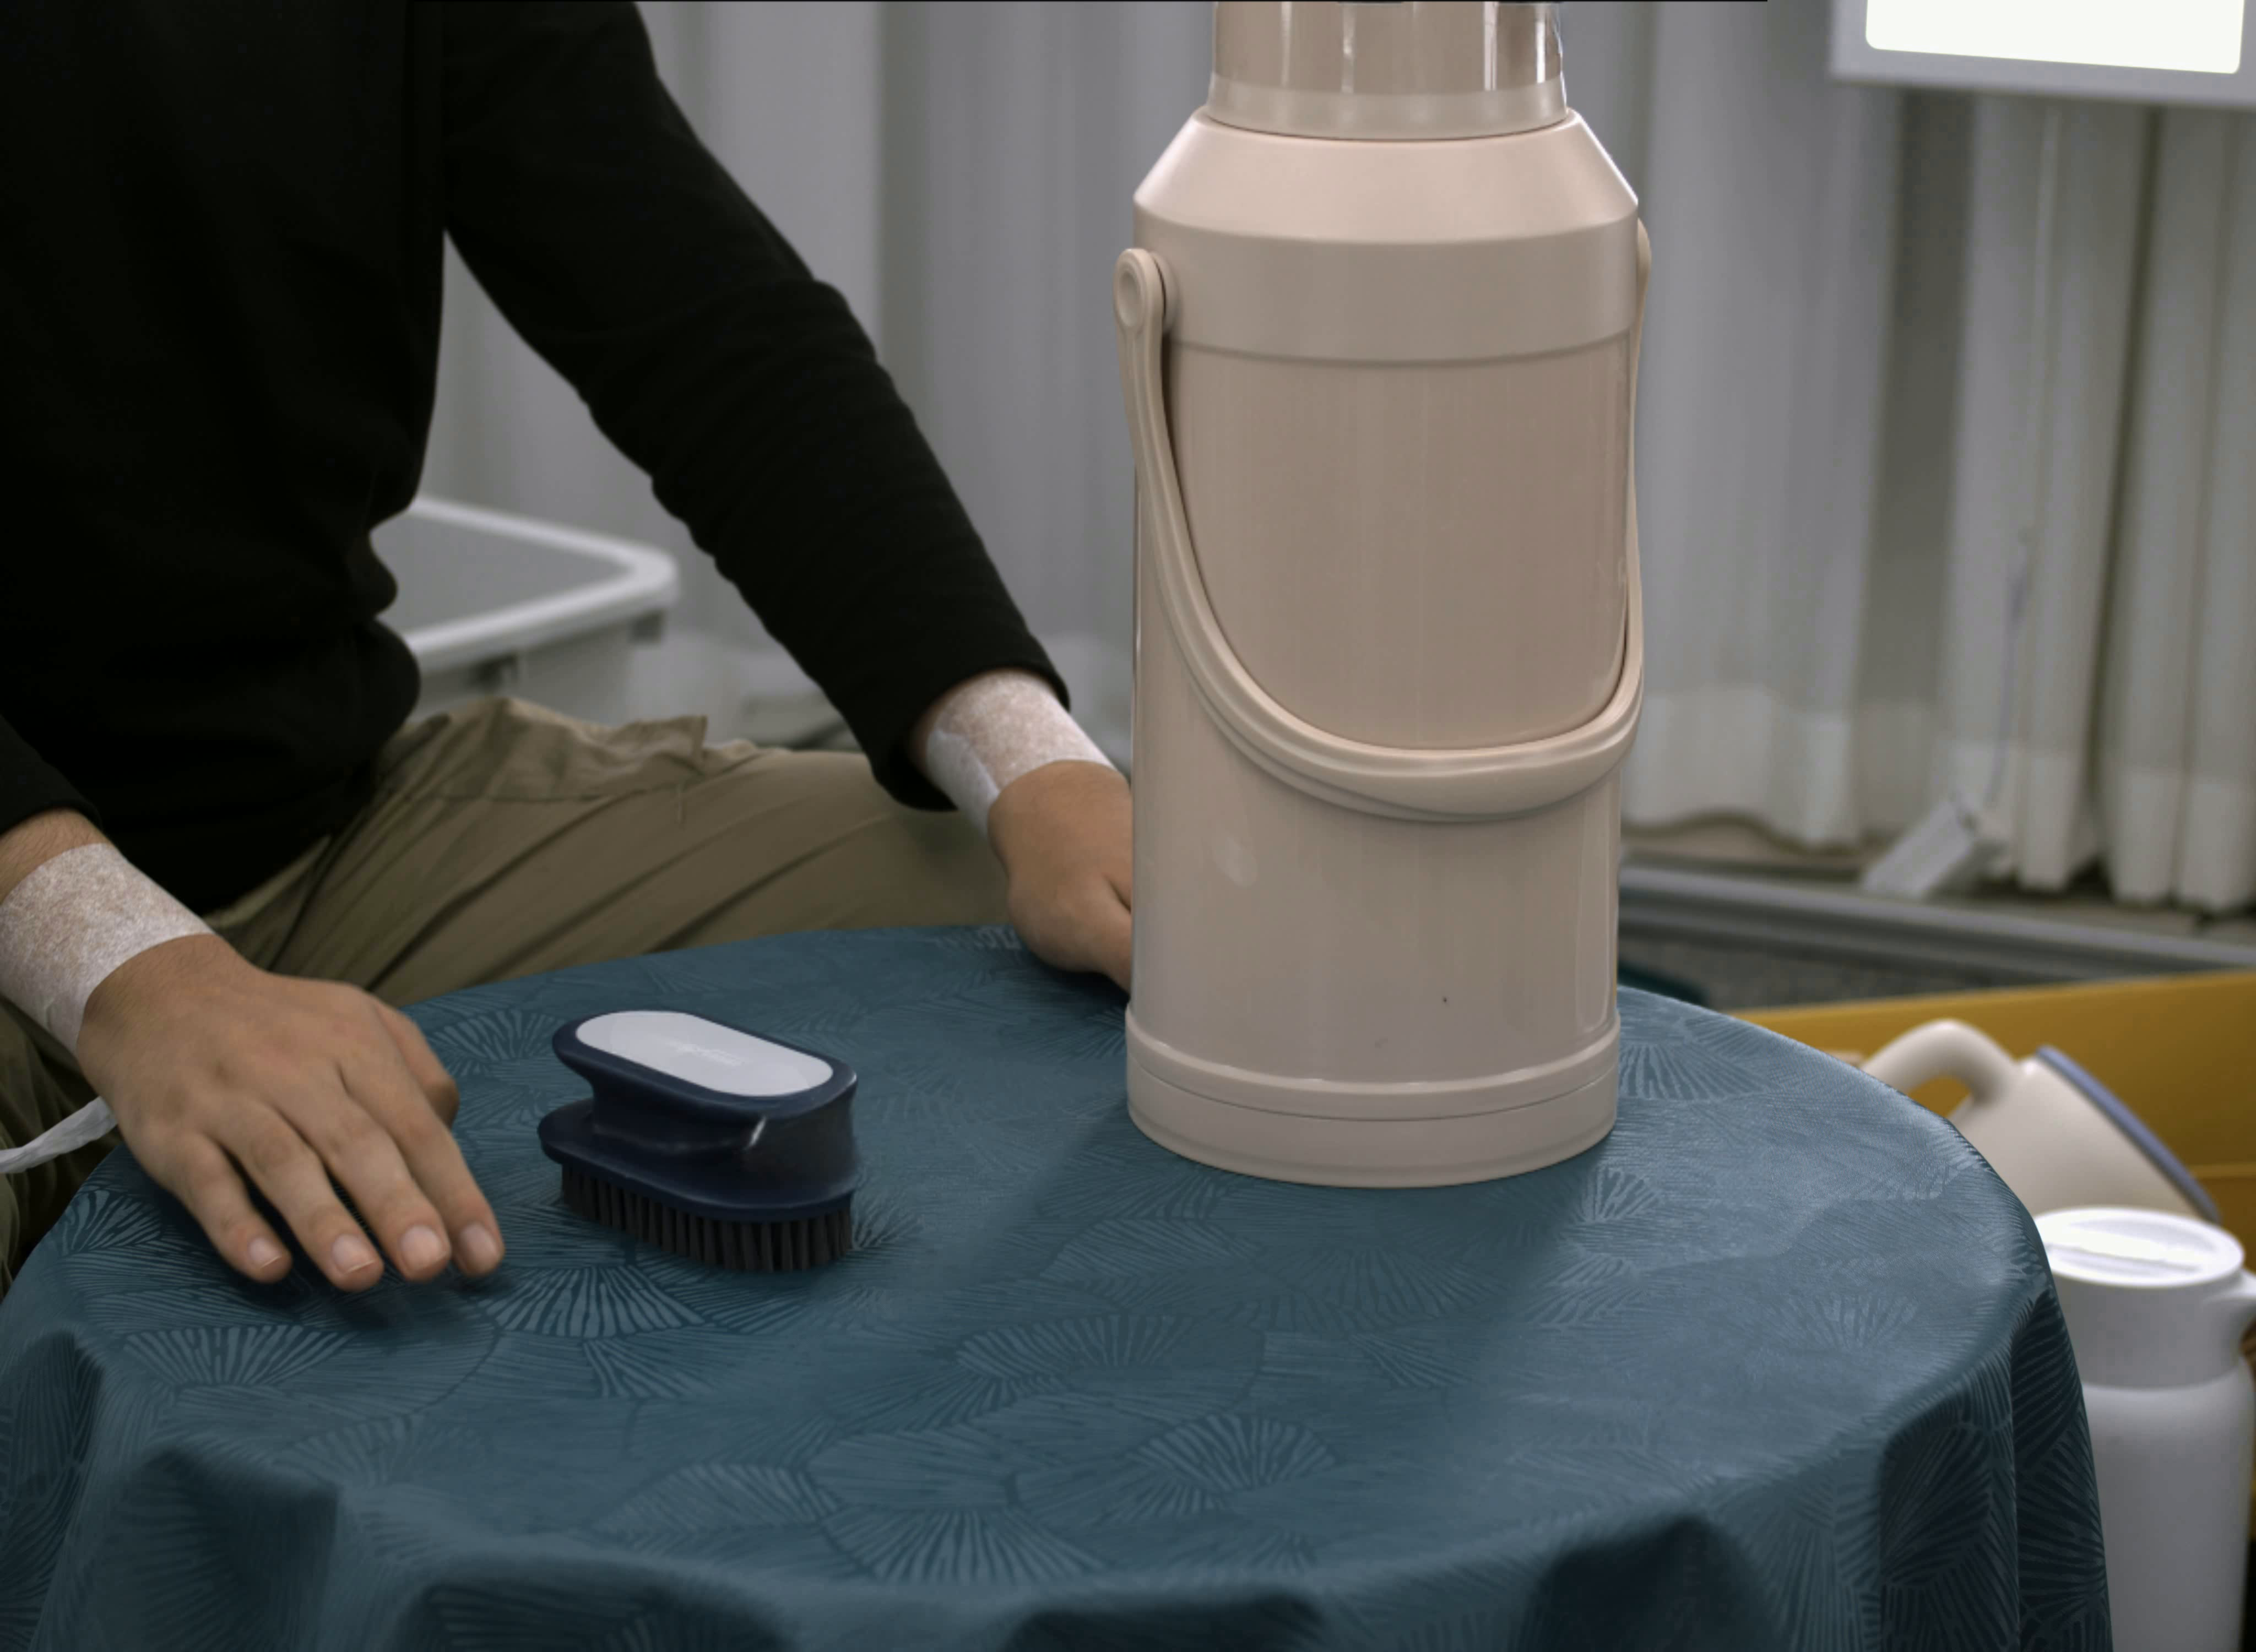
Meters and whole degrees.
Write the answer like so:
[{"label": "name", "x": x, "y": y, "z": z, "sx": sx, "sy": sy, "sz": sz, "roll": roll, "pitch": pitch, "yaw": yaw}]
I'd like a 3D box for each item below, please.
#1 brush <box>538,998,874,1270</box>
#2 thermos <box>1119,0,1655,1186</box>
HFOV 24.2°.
[{"label": "brush", "x": -0.127, "y": 0.094, "z": 1.581, "sx": 0.068, "sy": 0.061, "sz": 0.120, "roll": -10, "pitch": 20, "yaw": -41}, {"label": "thermos", "x": 0.076, "y": -0.104, "z": 1.657, "sx": 0.176, "sy": 0.410, "sz": 0.204, "roll": -9, "pitch": 19, "yaw": -24}]
